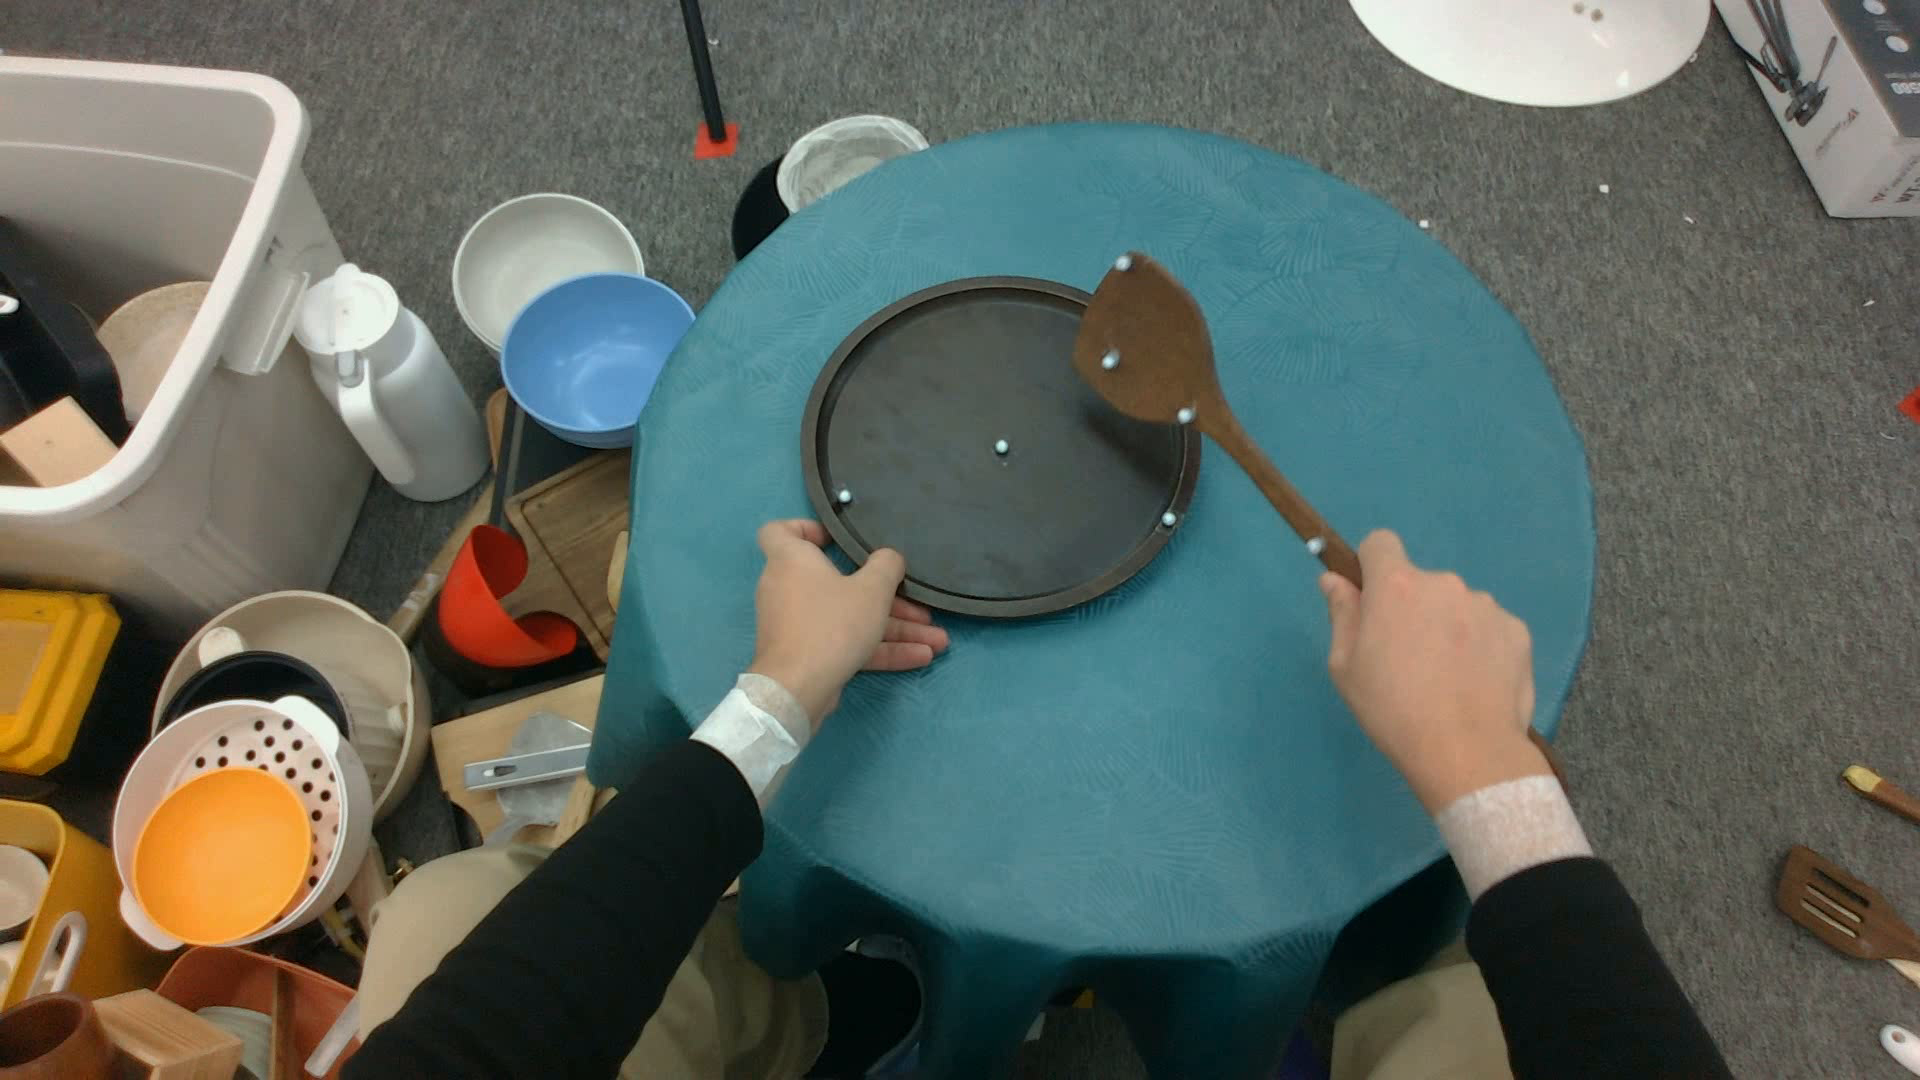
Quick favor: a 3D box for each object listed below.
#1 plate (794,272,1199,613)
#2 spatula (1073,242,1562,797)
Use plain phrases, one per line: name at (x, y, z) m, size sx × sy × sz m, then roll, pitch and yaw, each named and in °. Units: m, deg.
plate at (0.022, -0.066, 0.868) m, size 0.255 × 0.029 × 0.256 m, roll 0°, pitch 61°, yaw -1°
spatula at (0.182, -0.016, 0.747) m, size 0.016 × 0.095 × 0.386 m, roll -13°, pitch 54°, yaw -37°
